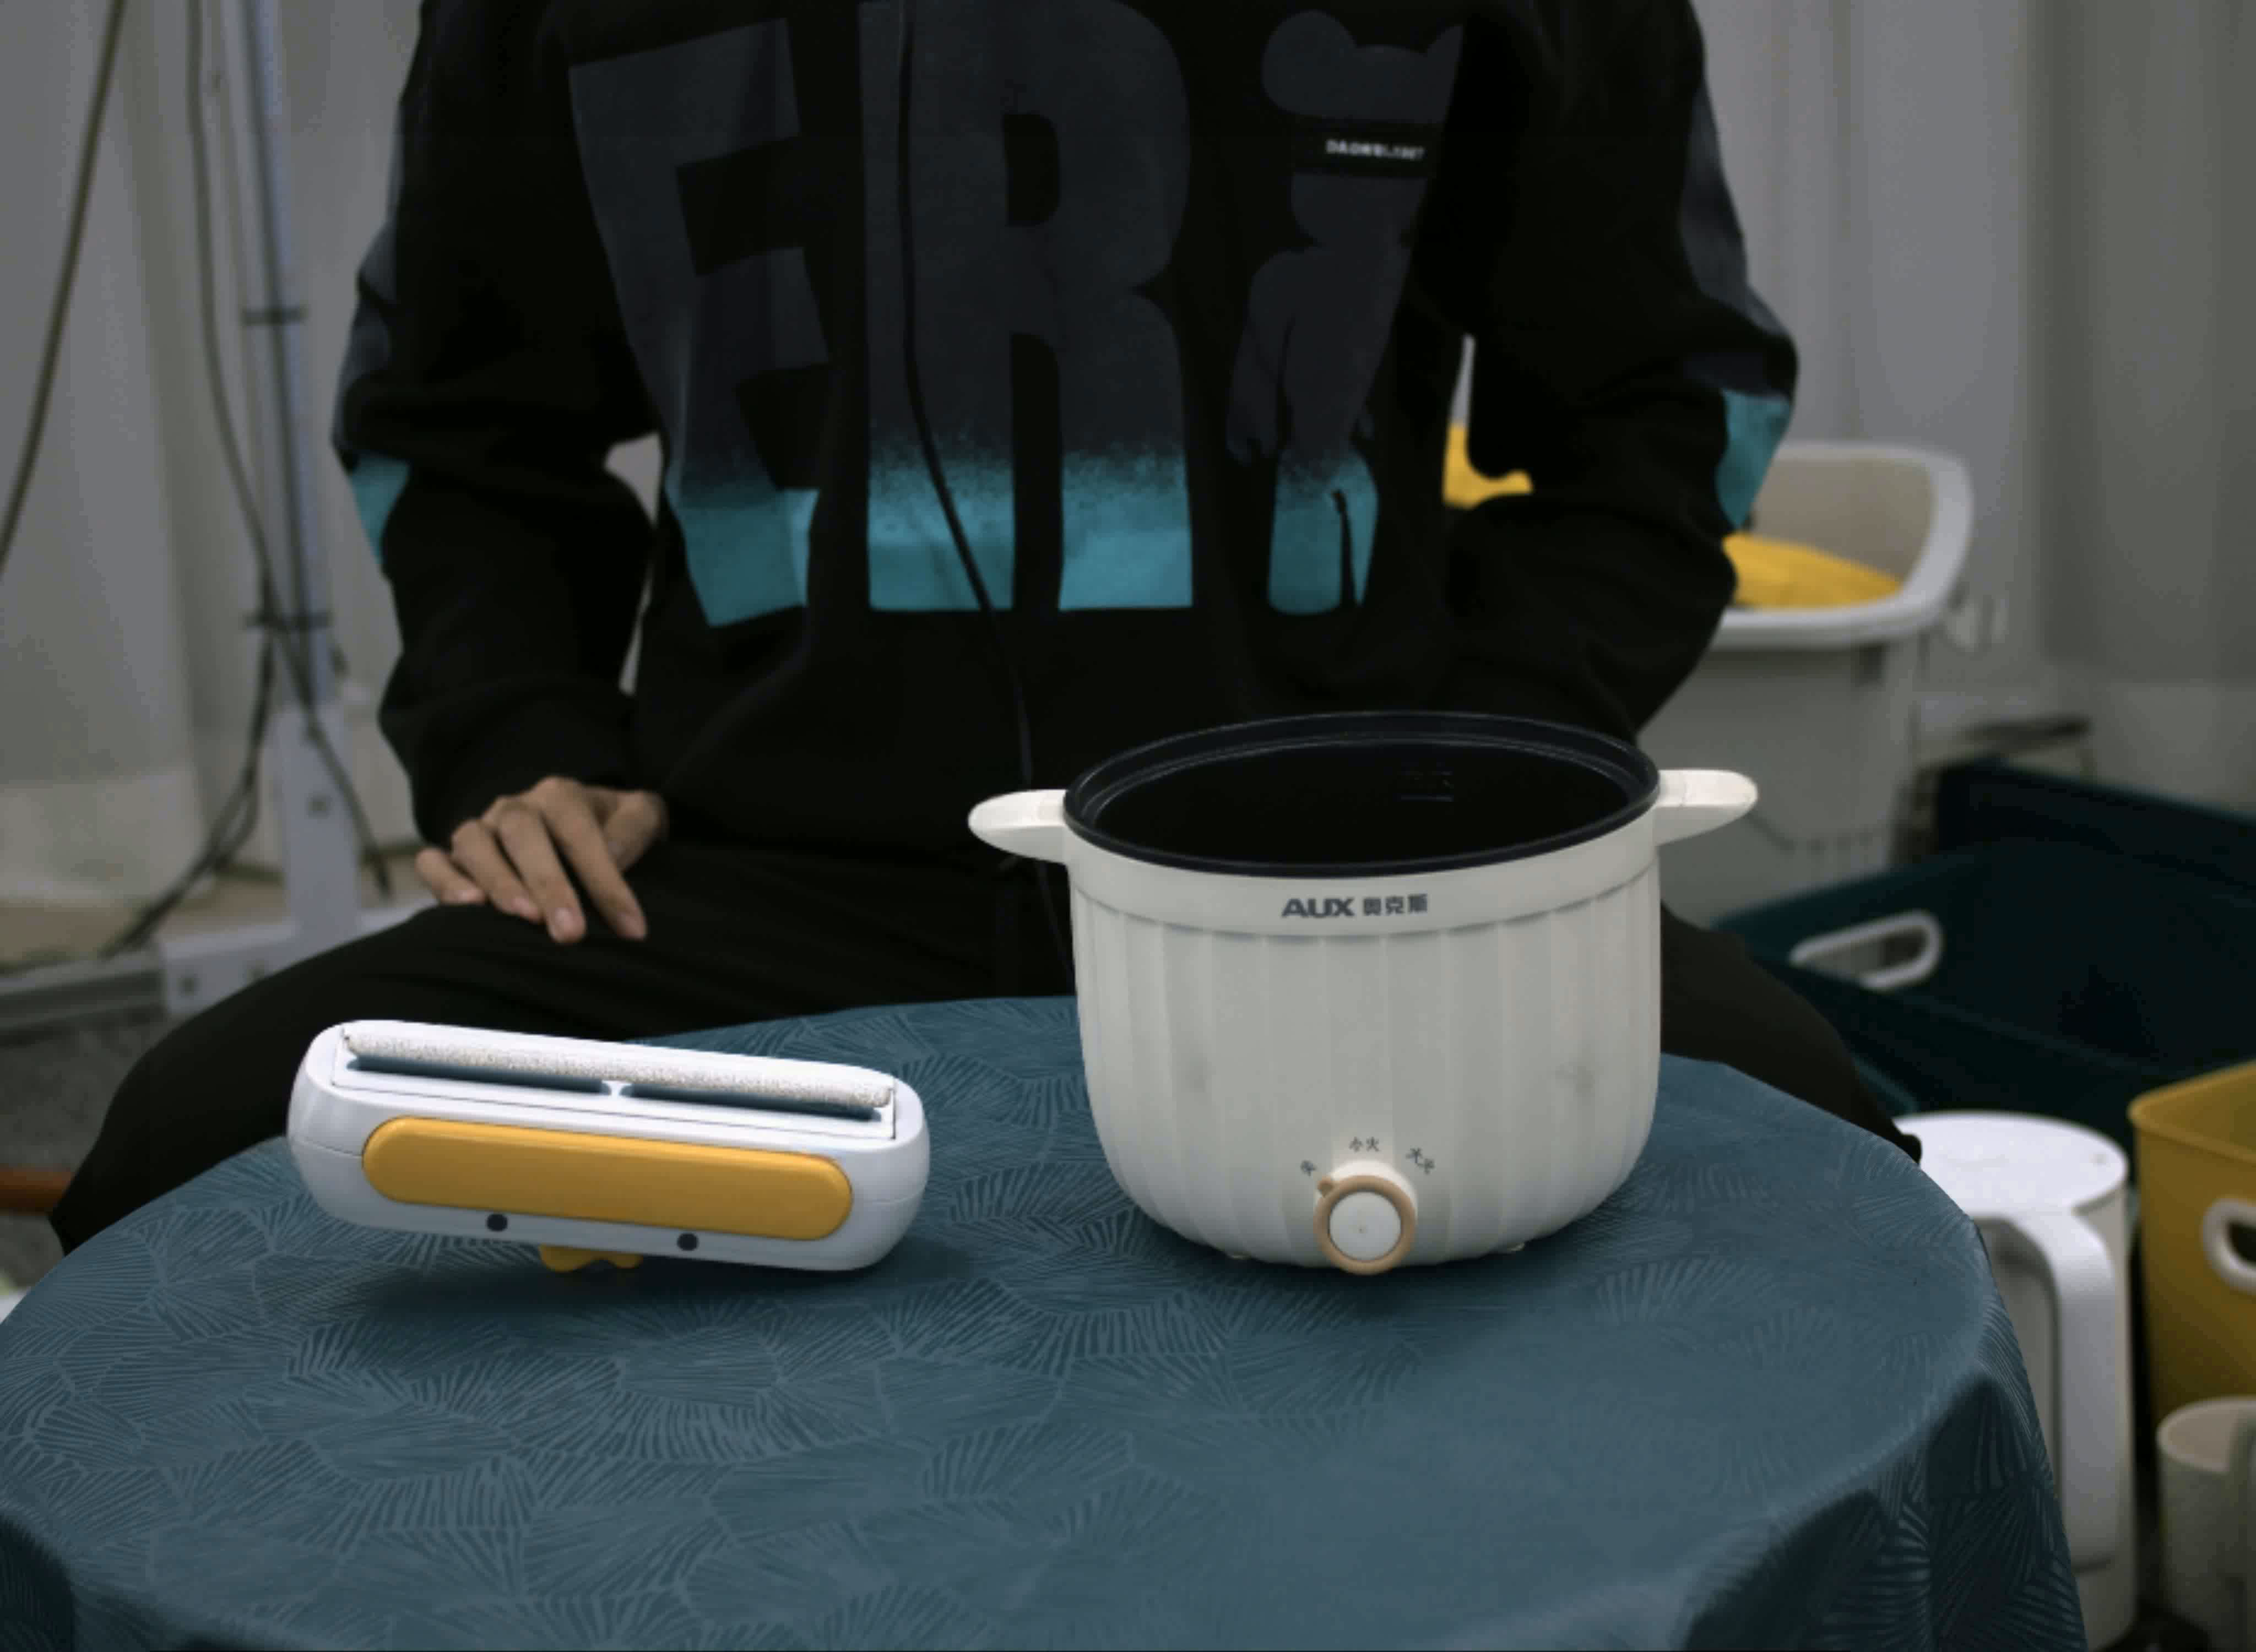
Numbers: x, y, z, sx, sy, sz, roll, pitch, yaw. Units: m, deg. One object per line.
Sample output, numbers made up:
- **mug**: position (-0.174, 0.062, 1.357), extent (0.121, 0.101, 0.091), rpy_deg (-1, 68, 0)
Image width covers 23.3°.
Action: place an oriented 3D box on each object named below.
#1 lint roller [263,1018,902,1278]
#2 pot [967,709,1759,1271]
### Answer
- **lint roller**: position (-0.165, 0.090, 1.711), extent (0.192, 0.074, 0.193), rpy_deg (2, 13, -1)
- **pot**: position (0.074, 0.052, 1.663), extent (0.240, 0.142, 0.191), rpy_deg (-3, 12, 5)
